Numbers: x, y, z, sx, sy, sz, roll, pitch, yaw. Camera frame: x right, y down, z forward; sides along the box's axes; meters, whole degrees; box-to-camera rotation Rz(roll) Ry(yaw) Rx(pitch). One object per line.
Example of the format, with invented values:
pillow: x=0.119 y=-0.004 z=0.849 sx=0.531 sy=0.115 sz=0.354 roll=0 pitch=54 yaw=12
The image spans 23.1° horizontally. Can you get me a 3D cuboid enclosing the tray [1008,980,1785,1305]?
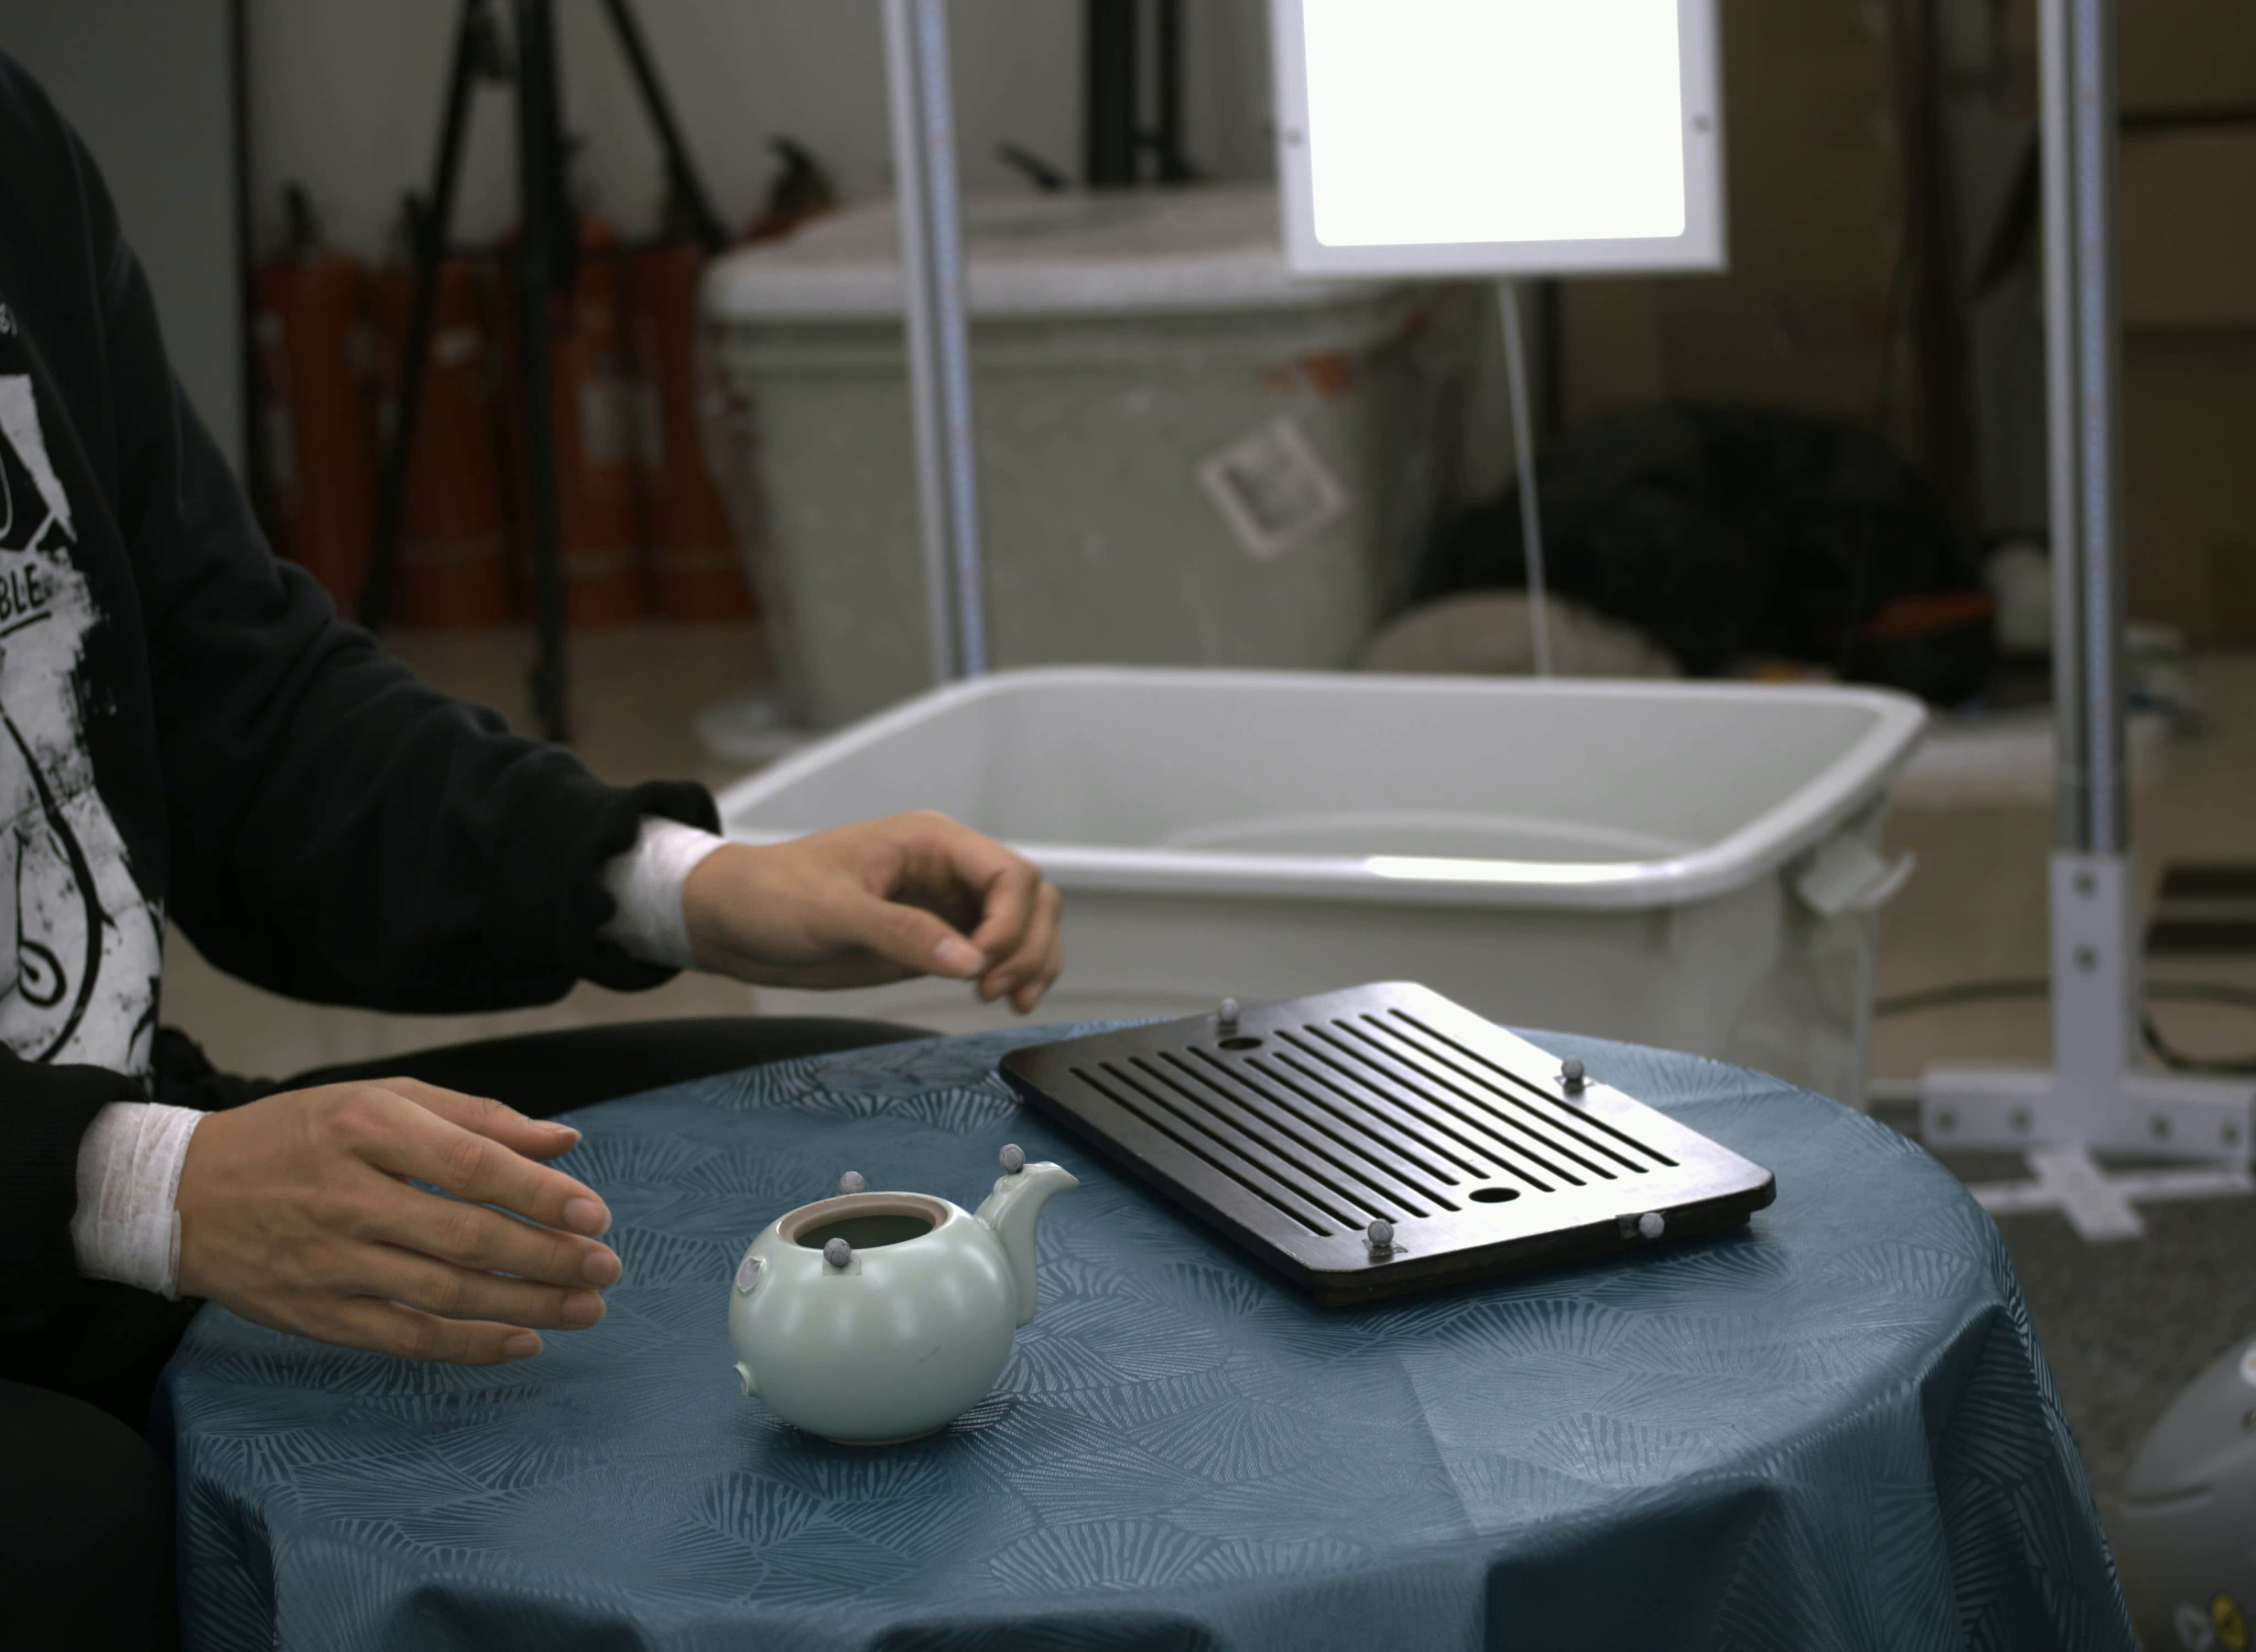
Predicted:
tray: x=0.087 y=0.107 z=1.910 sx=0.167 sy=0.019 sz=0.310 roll=-10 pitch=15 yaw=-19

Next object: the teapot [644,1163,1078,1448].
teapot: x=-0.079 y=0.149 z=1.686 sx=0.141 sy=0.075 sz=0.089 roll=-8 pitch=14 yaw=-20
